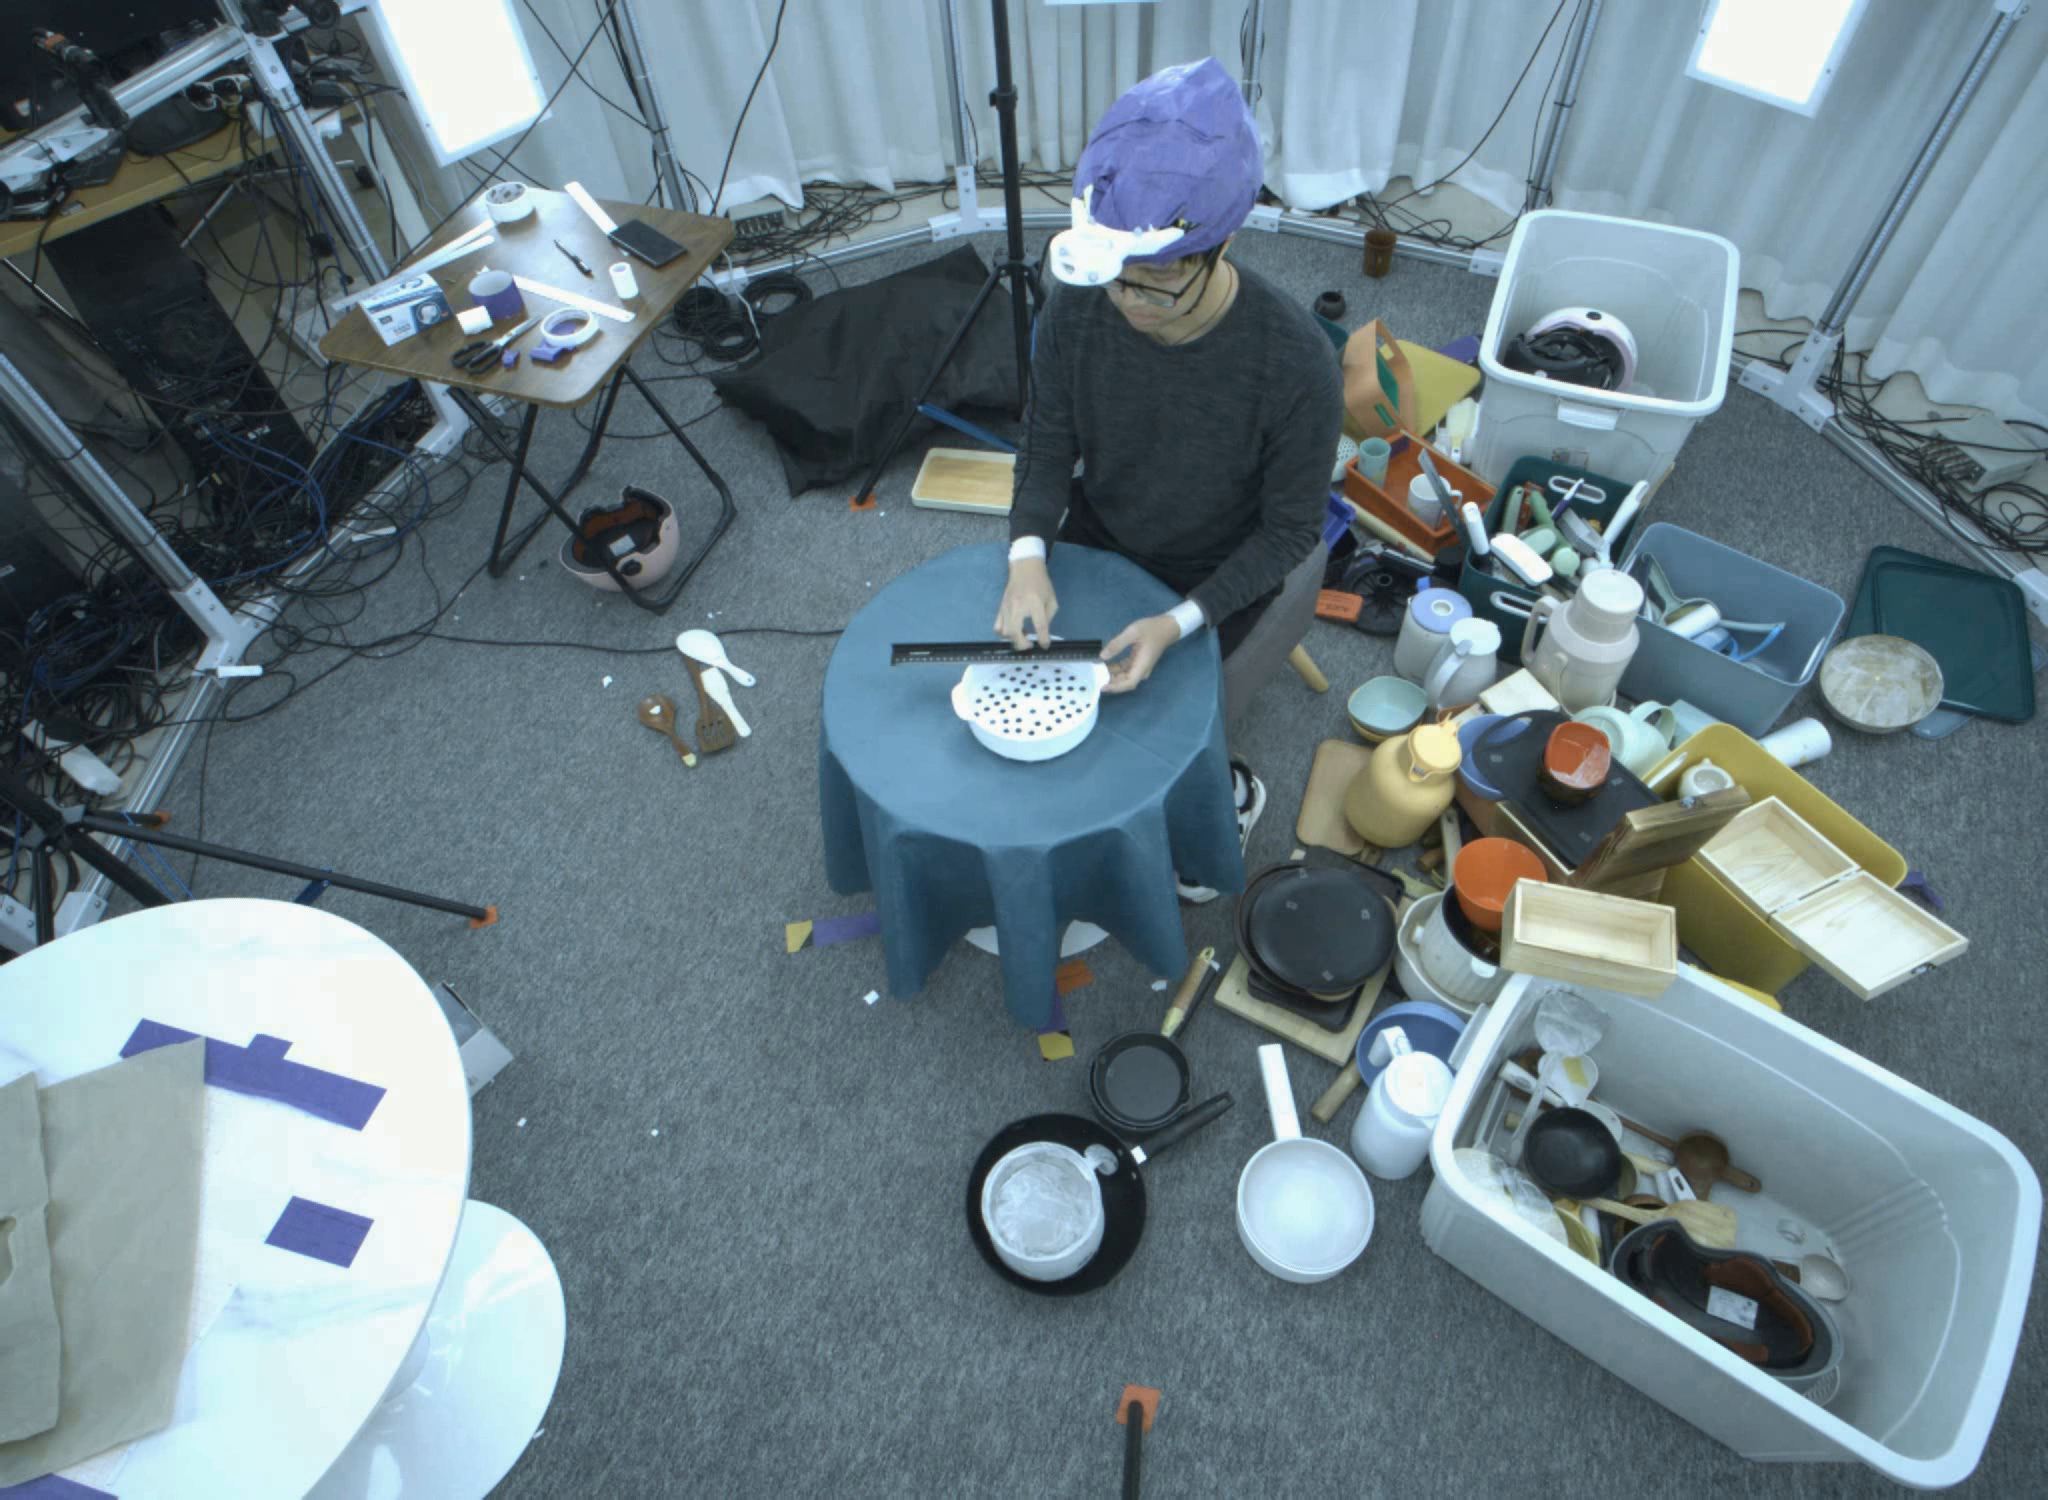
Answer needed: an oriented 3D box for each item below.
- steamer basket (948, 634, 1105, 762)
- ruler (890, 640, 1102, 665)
[{"bbox_3d":[0.006,-0.075,1.798,0.231,0.070,0.198,-15,55,-6],"label":"steamer basket"},{"bbox_3d":[-0.042,-0.144,1.799,0.312,0.017,0.039,-1,54,2],"label":"ruler"}]
